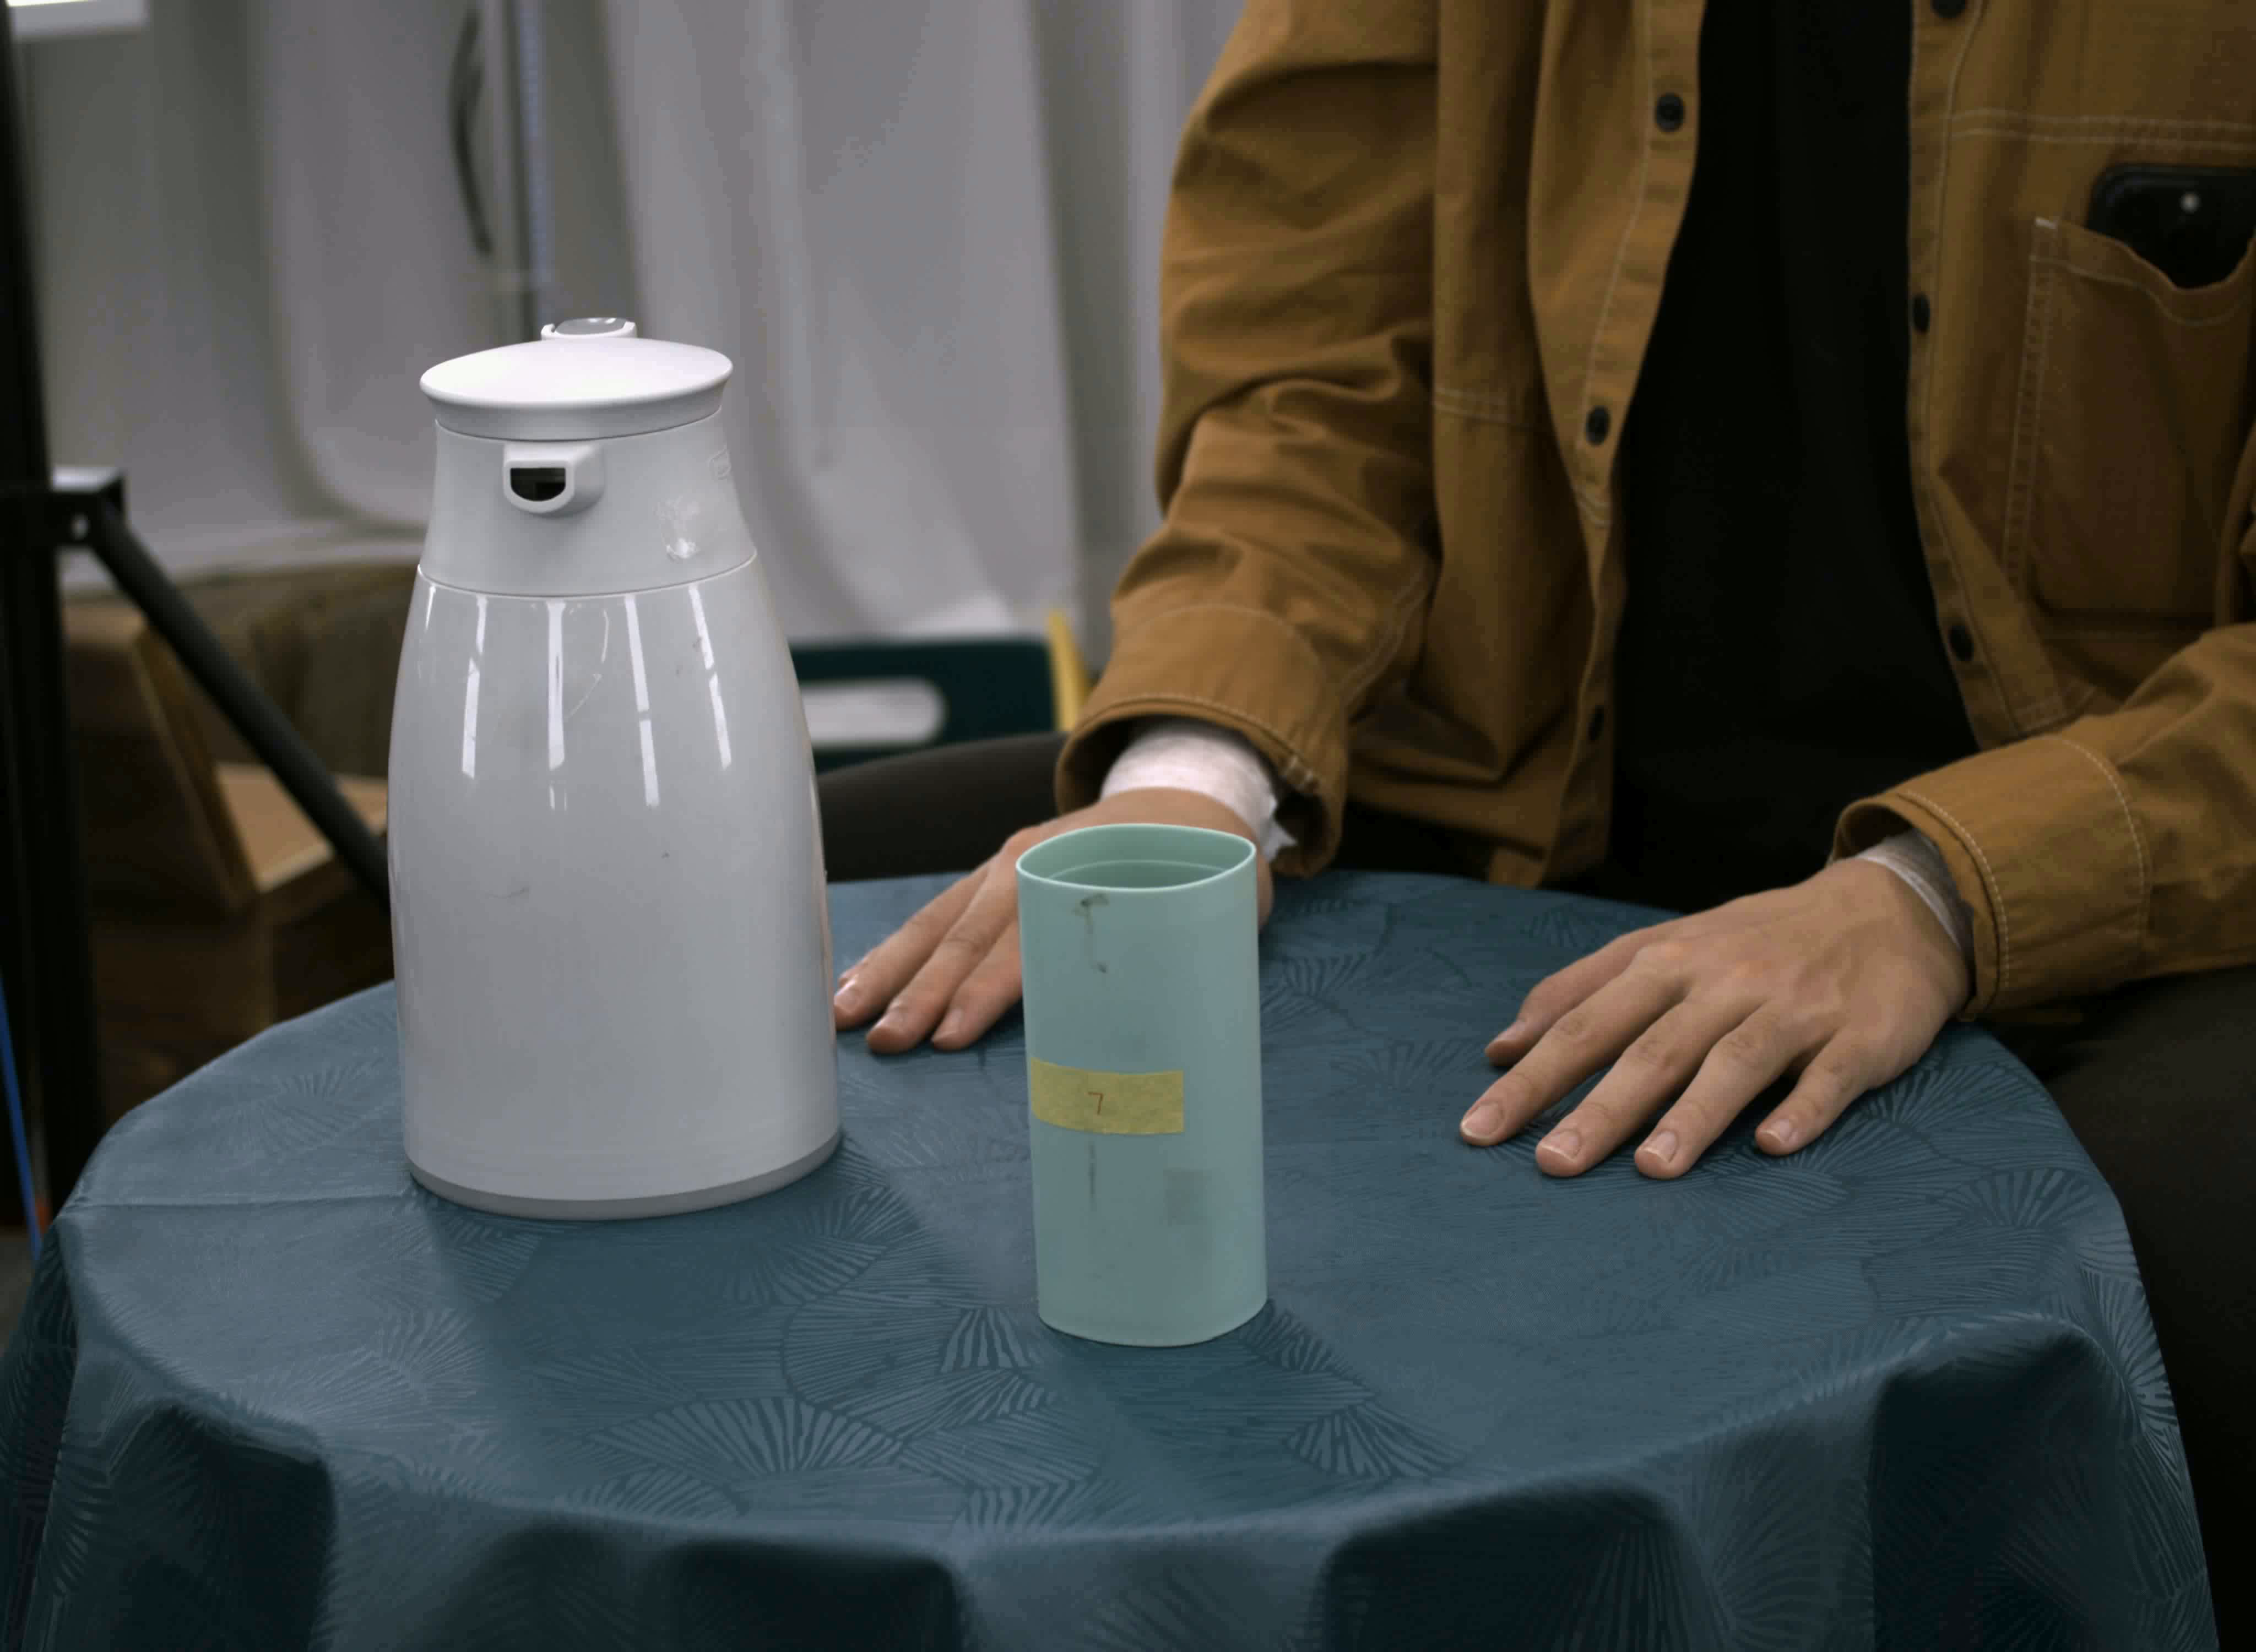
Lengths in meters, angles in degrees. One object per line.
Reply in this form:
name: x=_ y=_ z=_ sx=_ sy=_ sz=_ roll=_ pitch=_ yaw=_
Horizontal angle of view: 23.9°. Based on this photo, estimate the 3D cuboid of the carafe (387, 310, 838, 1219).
carafe: x=-0.156 y=-0.026 z=1.603 sx=0.132 sy=0.248 sz=0.167 roll=-1 pitch=15 yaw=6

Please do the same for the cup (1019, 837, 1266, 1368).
cup: x=0.006 y=0.074 z=1.447 sx=0.066 sy=0.132 sz=0.067 roll=-2 pitch=15 yaw=-1
